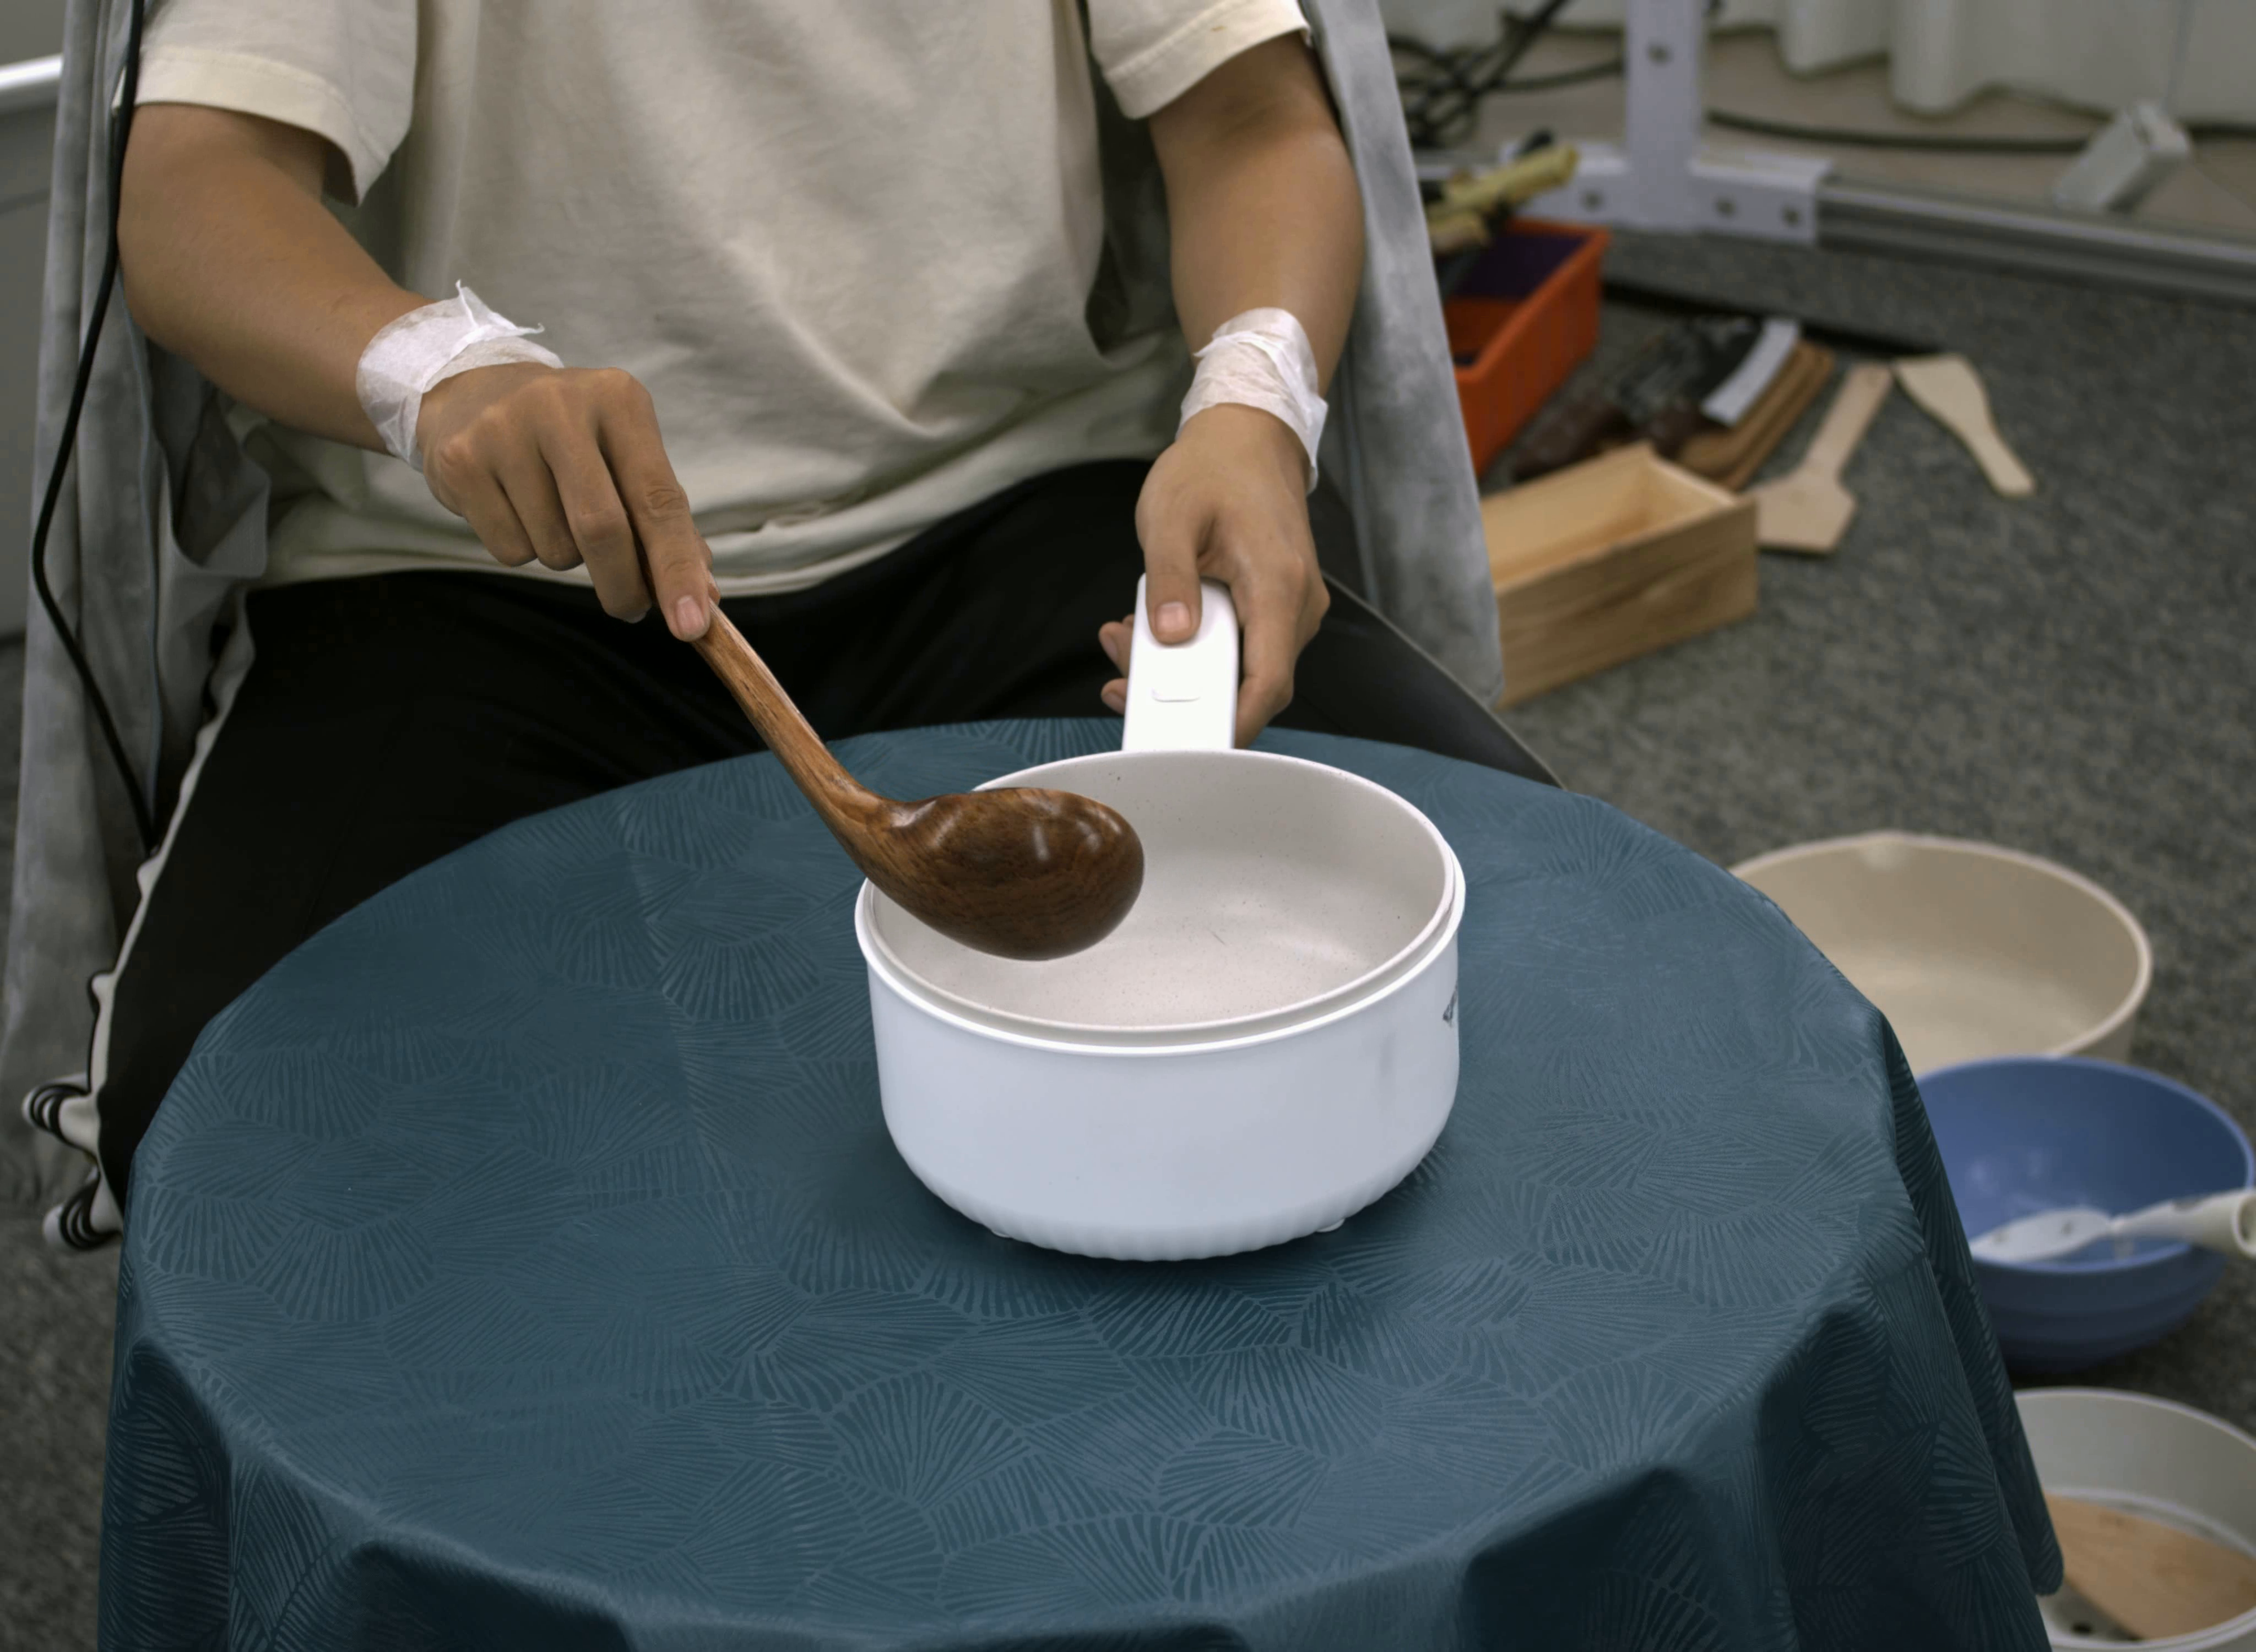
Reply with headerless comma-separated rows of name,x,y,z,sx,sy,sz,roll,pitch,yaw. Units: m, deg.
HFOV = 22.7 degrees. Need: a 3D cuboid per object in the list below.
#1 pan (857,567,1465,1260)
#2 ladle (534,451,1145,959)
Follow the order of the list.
pan,0.018,0.027,1.935,0.200,0.101,0.360,-1,26,4
ladle,-0.096,-0.053,1.868,0.077,0.080,0.276,-28,54,-21
